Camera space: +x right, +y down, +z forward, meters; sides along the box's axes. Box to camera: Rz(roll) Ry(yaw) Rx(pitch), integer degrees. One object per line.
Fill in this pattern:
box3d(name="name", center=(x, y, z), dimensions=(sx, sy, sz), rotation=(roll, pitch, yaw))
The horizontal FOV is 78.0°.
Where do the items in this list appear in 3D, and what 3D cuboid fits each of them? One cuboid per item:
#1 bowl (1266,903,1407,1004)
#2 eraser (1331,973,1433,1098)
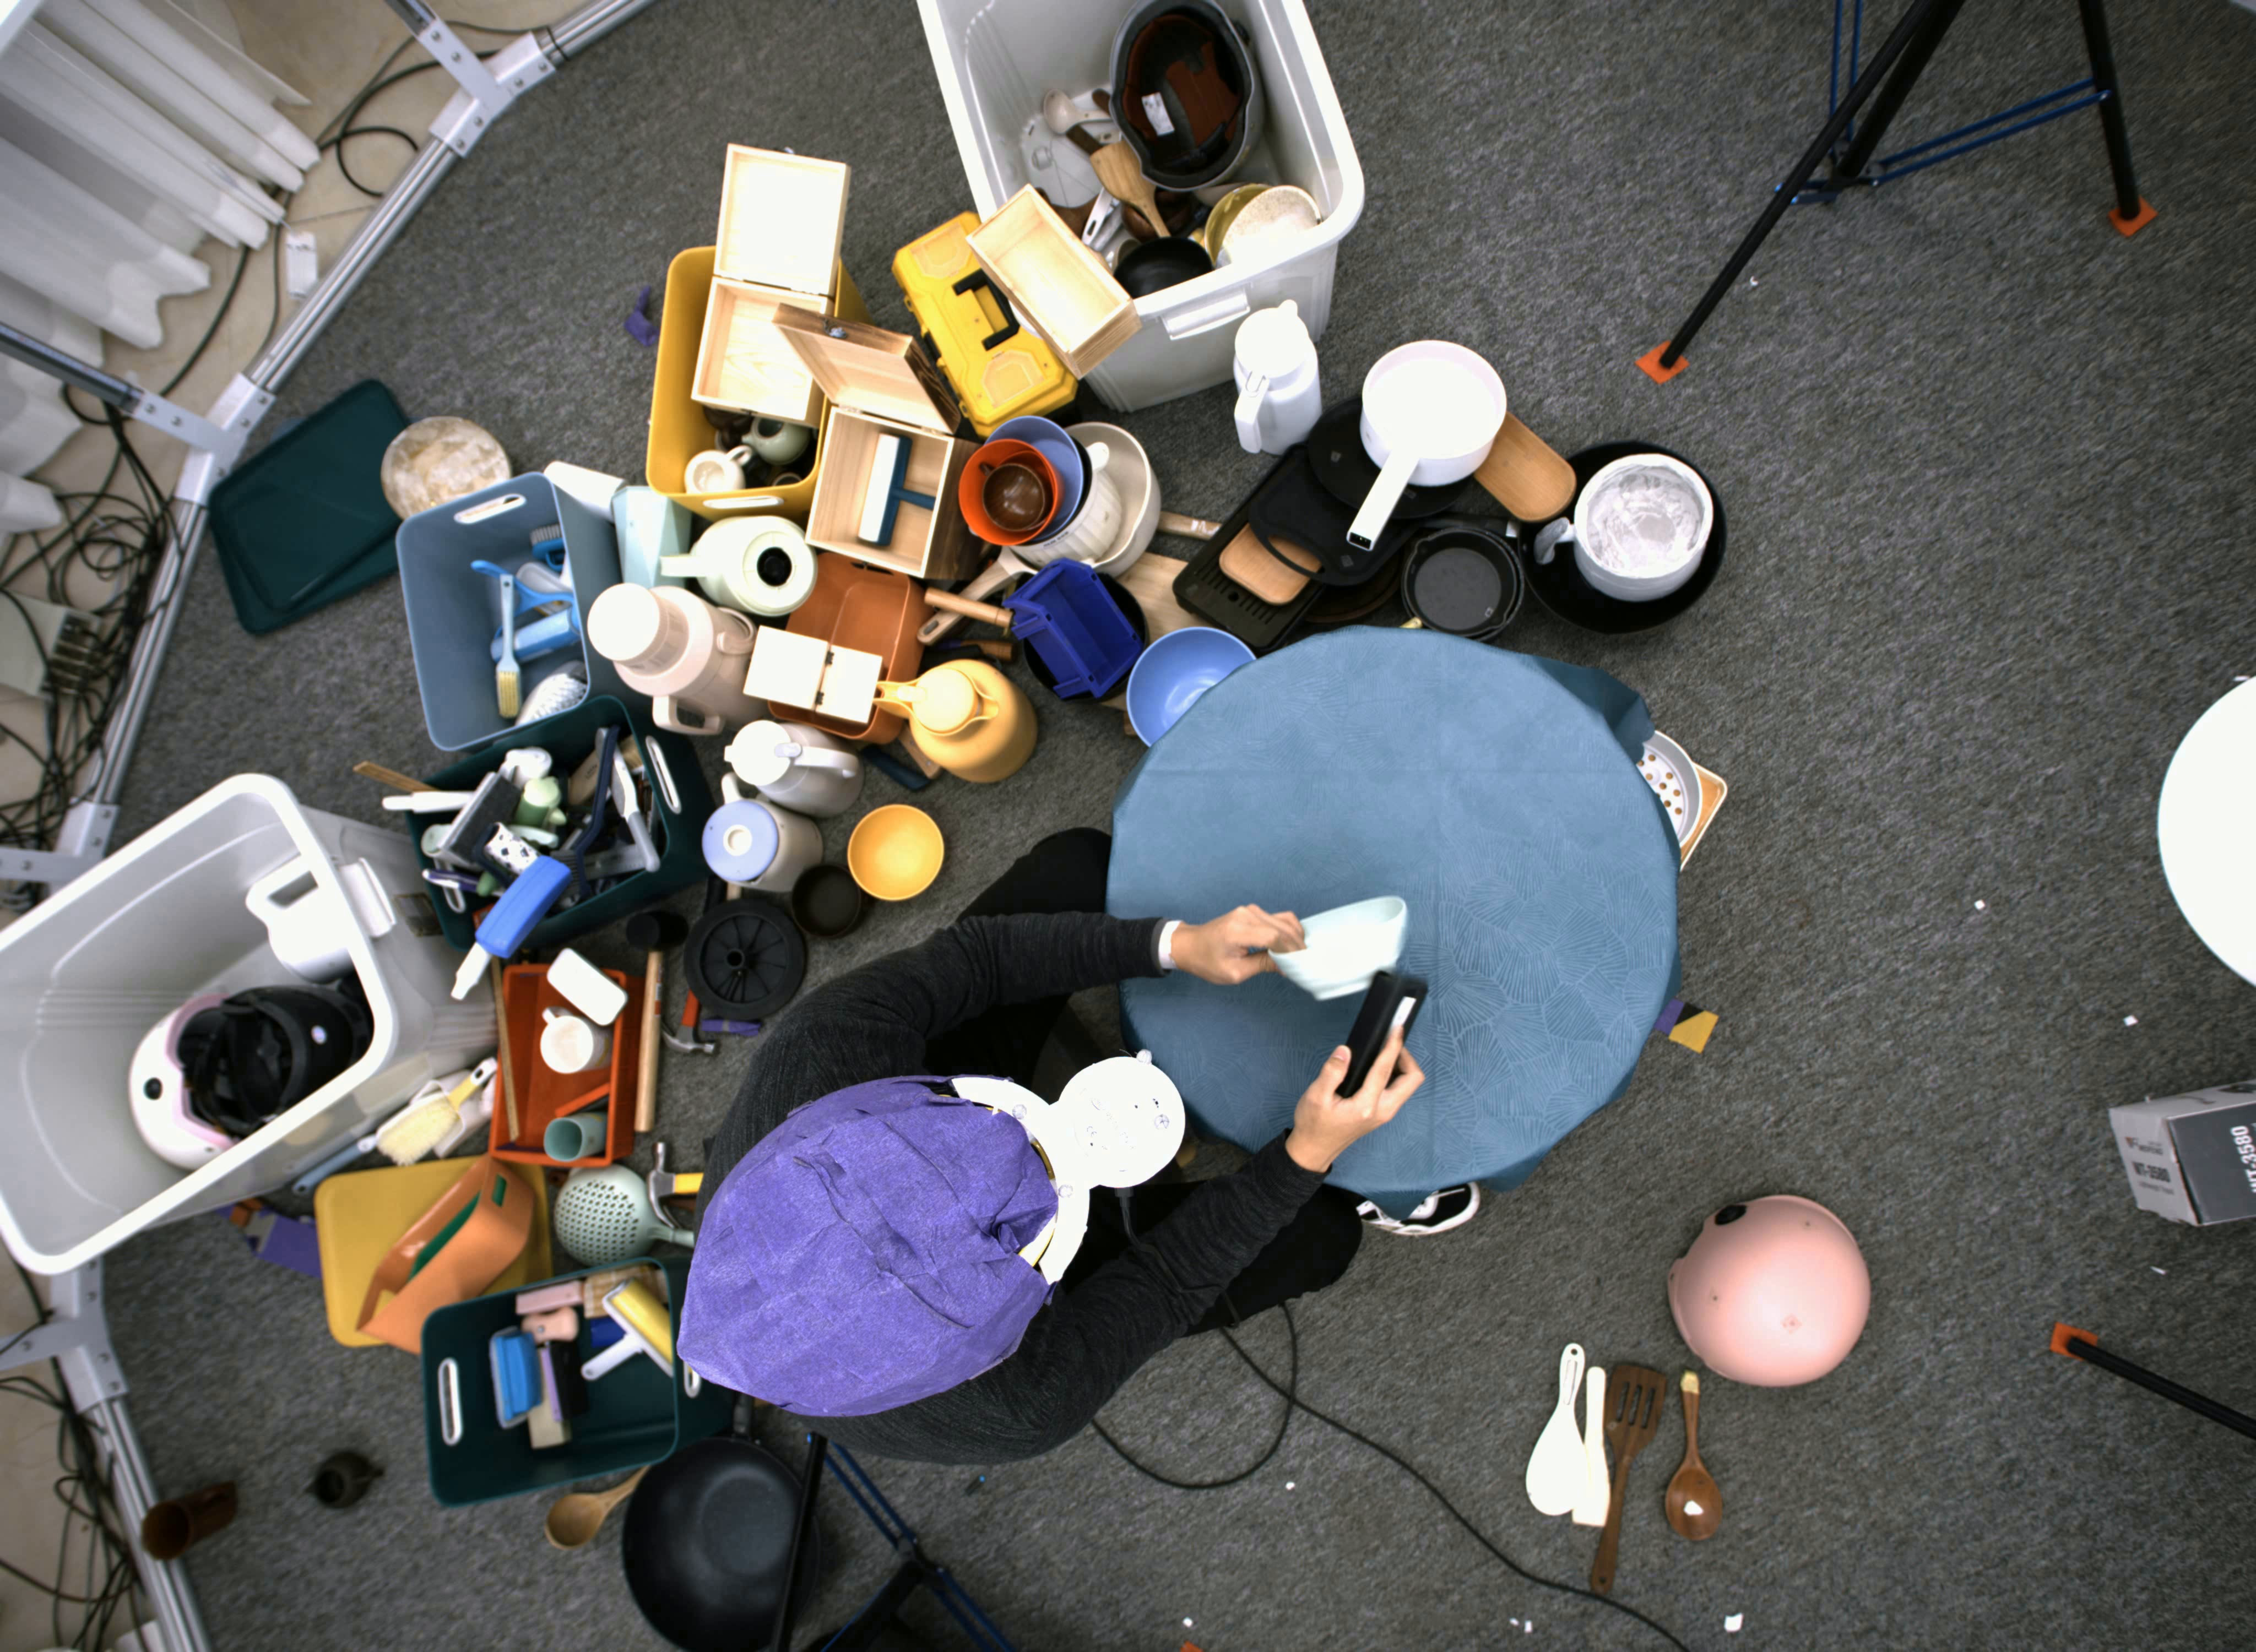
box3d(name="bowl", center=(0.207, 0.125, 1.334), dimensions=(0.152, 0.150, 0.059), rotation=(-17, 98, 8))
box3d(name="eraser", center=(0.239, 0.197, 1.307), dimensions=(0.030, 0.053, 0.127), rotation=(45, 121, 49))
